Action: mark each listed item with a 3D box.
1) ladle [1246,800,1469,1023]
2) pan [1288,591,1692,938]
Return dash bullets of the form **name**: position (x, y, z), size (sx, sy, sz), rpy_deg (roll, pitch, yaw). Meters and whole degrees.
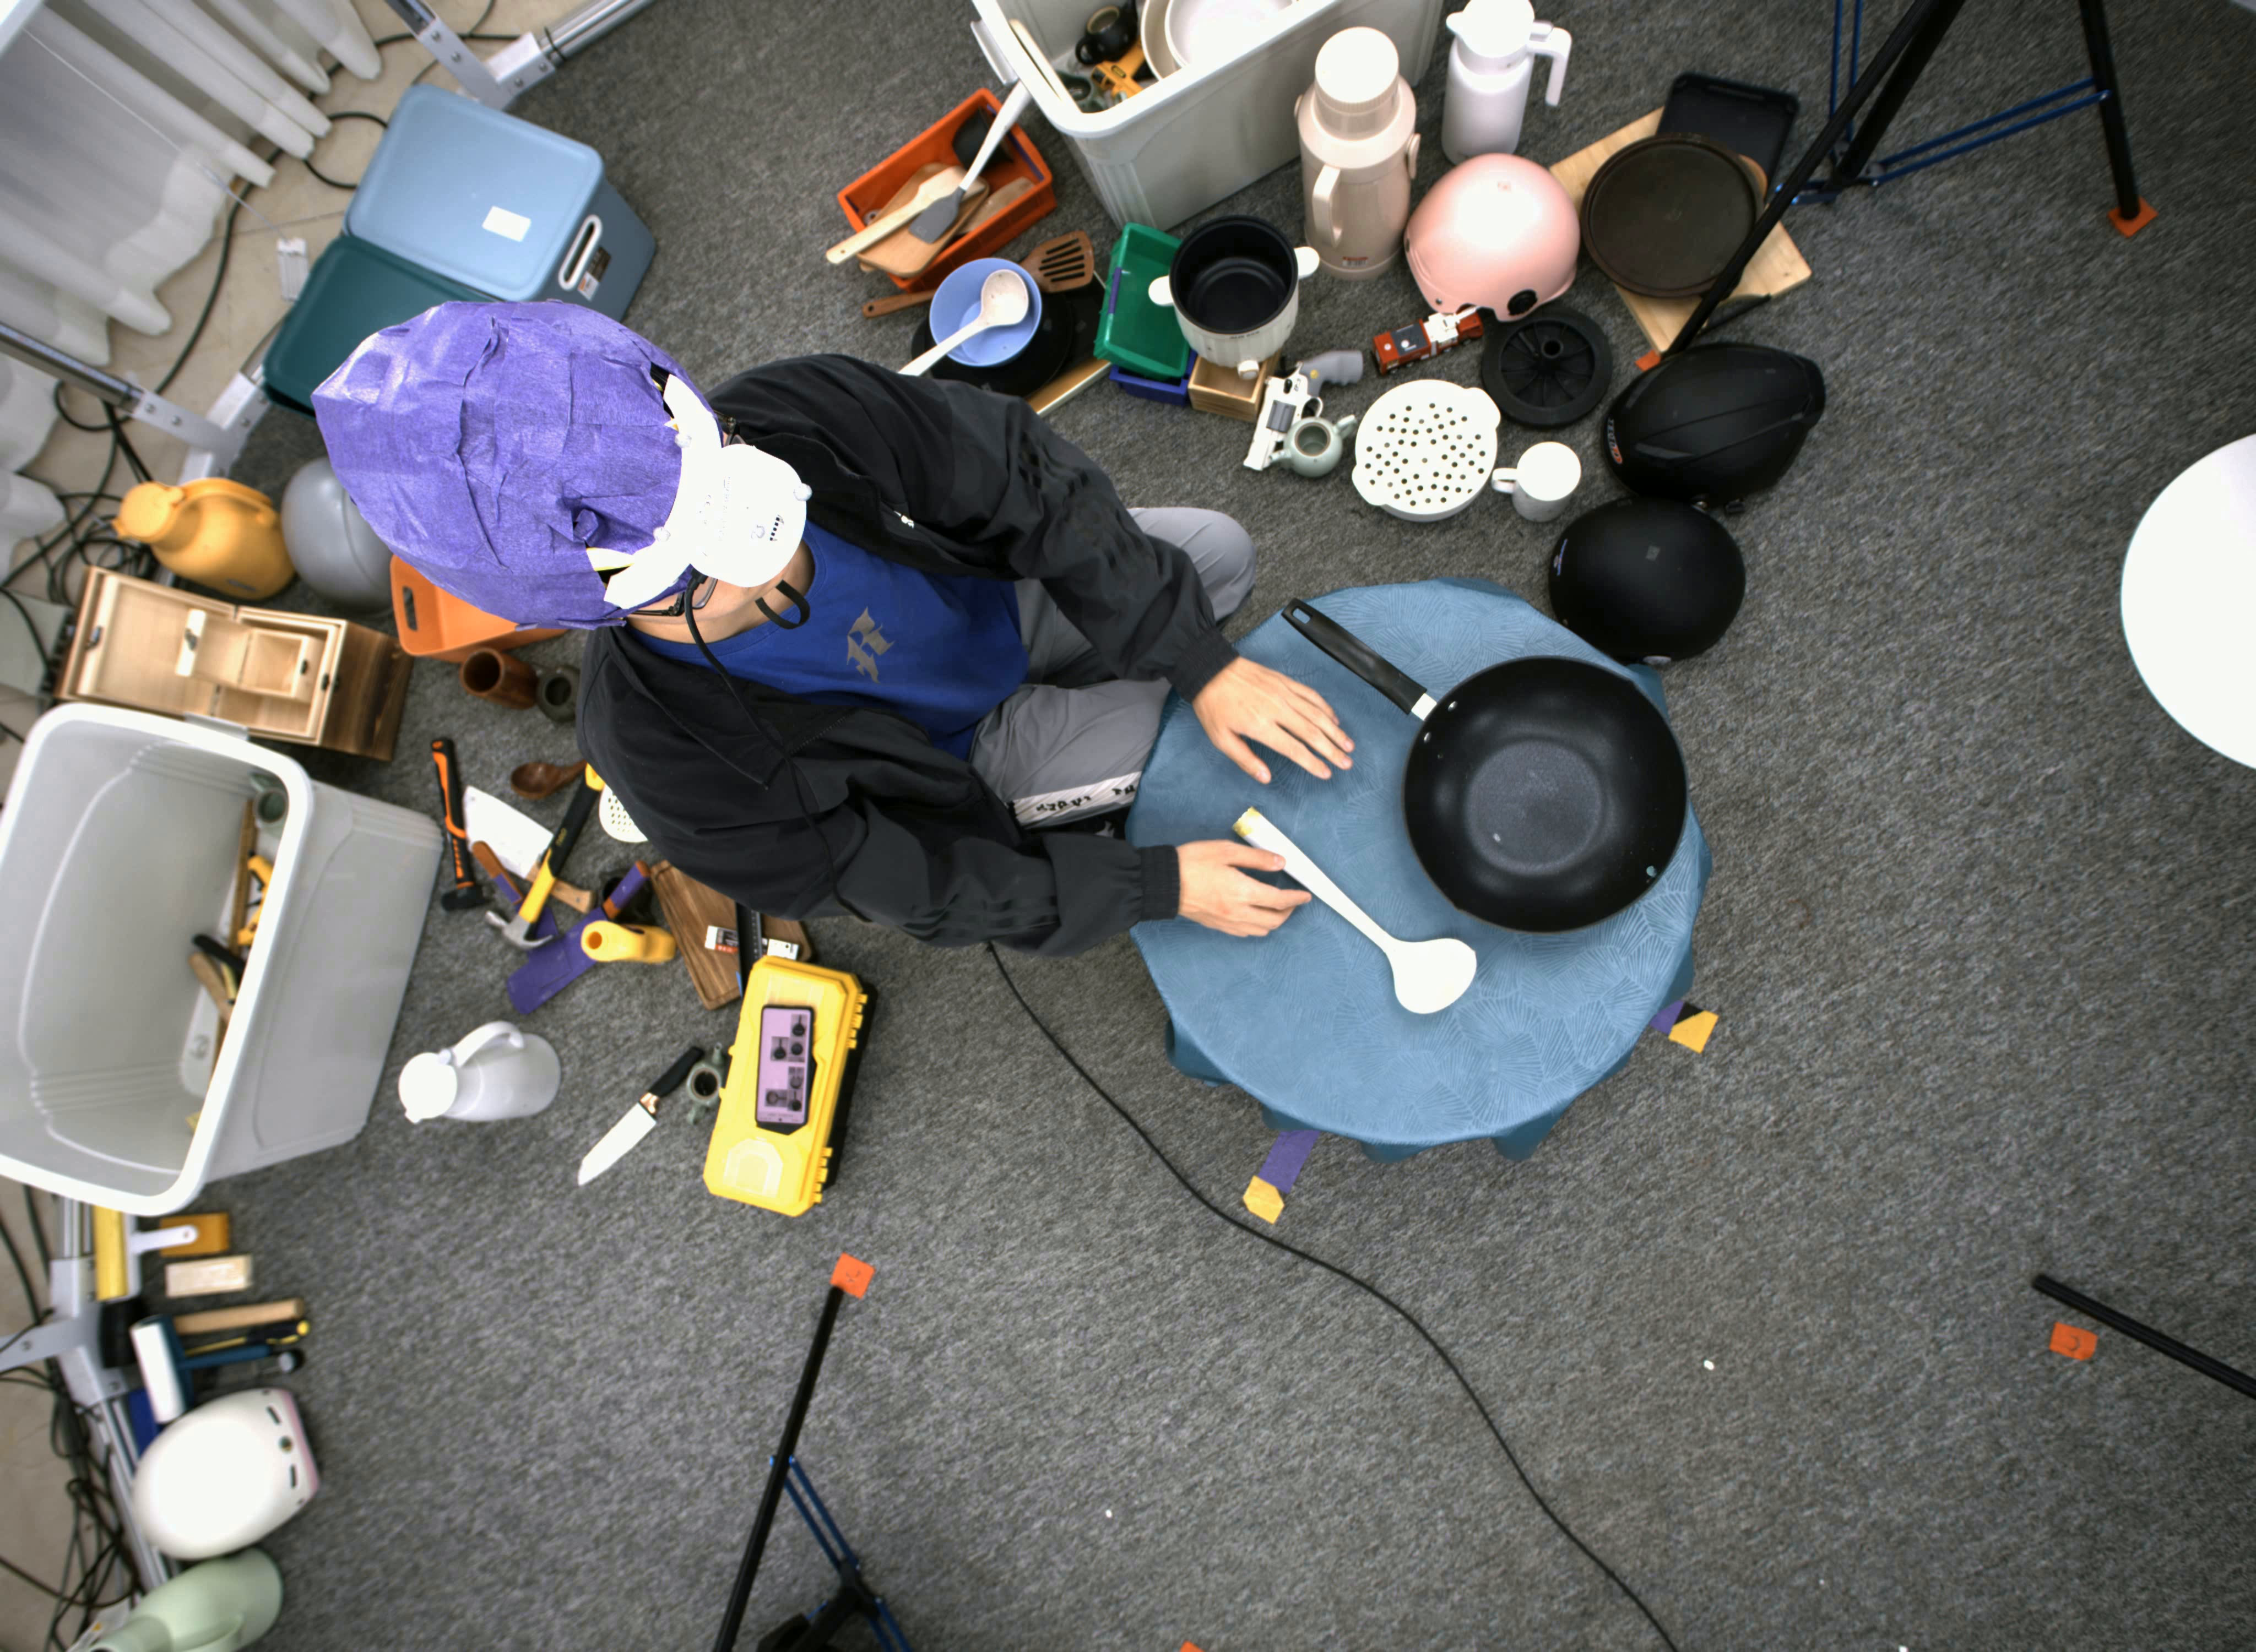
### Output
- **ladle**: position (0.230, 0.080, 1.435), size (0.090, 0.070, 0.291), rpy_deg (-45, 77, 5)
- **pan**: position (0.349, -0.084, 1.410), size (0.461, 0.087, 0.289), rpy_deg (39, 94, 12)
